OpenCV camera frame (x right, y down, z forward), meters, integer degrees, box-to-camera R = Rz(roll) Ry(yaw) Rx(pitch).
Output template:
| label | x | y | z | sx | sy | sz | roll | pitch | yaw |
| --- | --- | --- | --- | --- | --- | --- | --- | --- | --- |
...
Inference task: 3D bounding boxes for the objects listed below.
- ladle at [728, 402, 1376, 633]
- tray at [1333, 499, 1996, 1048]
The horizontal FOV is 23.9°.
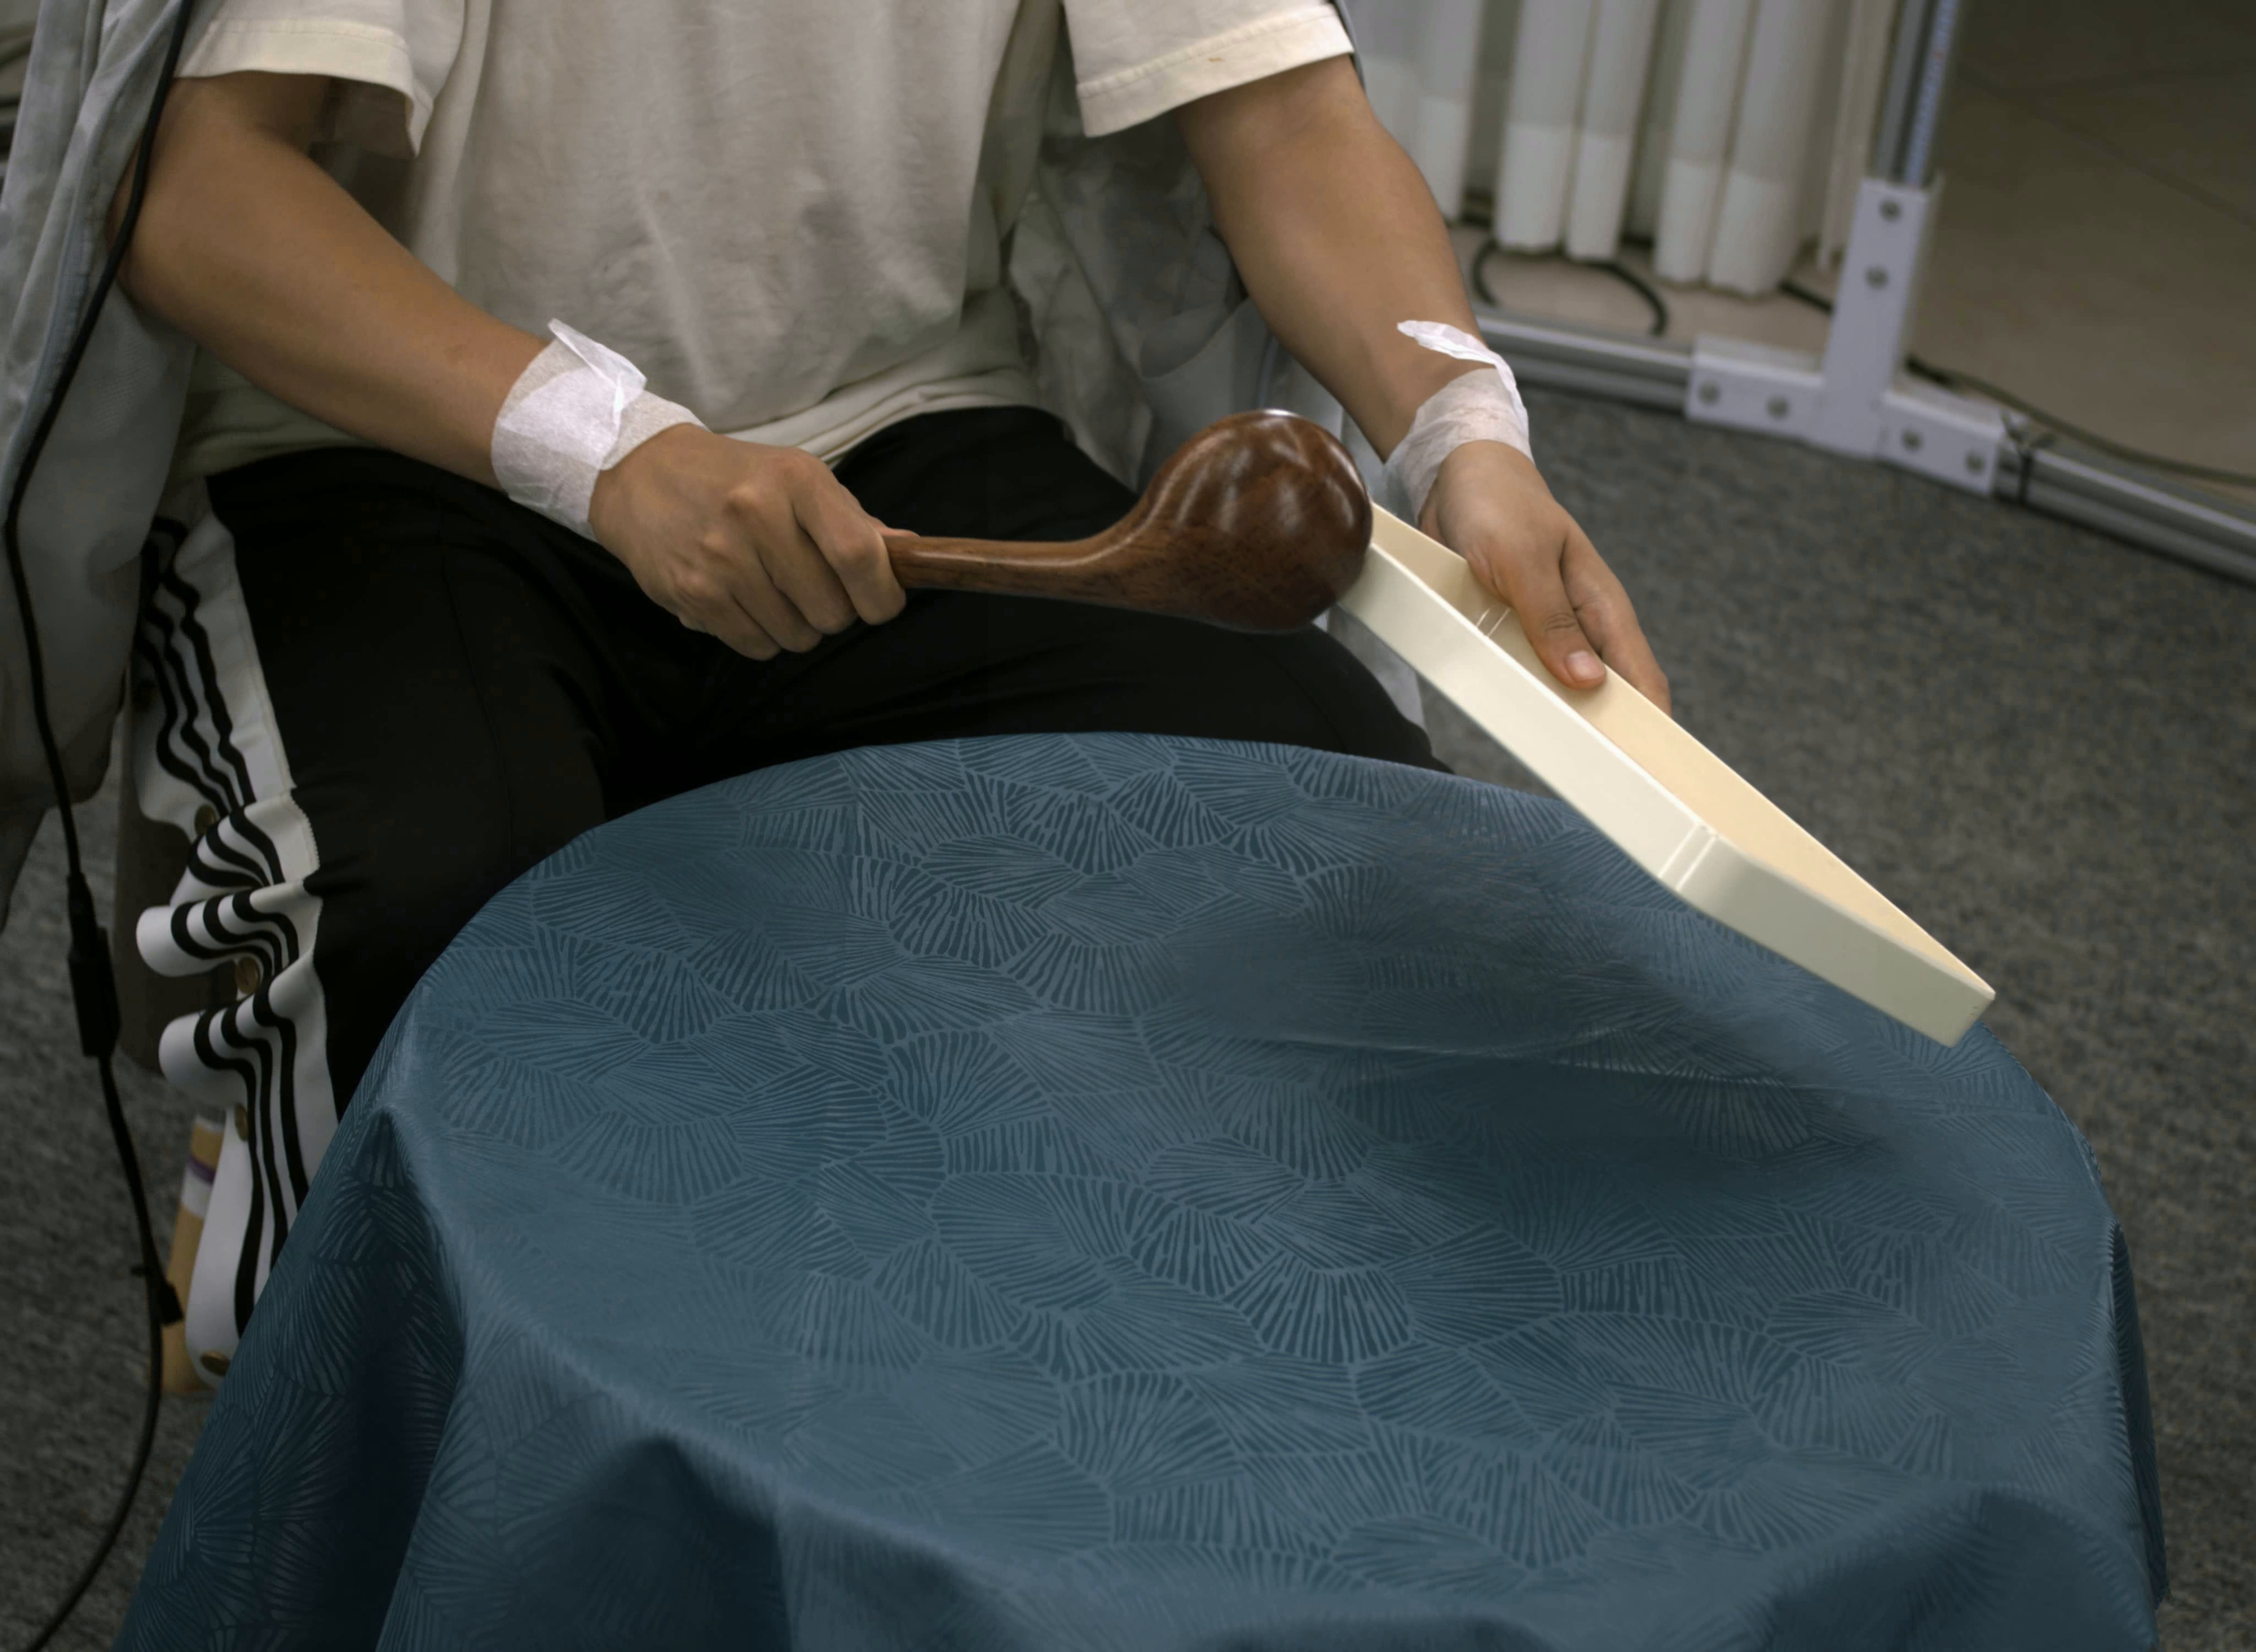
| label | x | y | z | sx | sy | sz | roll | pitch | yaw |
| --- | --- | --- | --- | --- | --- | --- | --- | --- | --- |
| ladle | -0.030 | -0.106 | 1.916 | 0.275 | 0.081 | 0.076 | 1 | 30 | 45 |
| tray | 0.165 | -0.032 | 1.896 | 0.190 | 0.027 | 0.303 | 27 | 13 | -46 |
